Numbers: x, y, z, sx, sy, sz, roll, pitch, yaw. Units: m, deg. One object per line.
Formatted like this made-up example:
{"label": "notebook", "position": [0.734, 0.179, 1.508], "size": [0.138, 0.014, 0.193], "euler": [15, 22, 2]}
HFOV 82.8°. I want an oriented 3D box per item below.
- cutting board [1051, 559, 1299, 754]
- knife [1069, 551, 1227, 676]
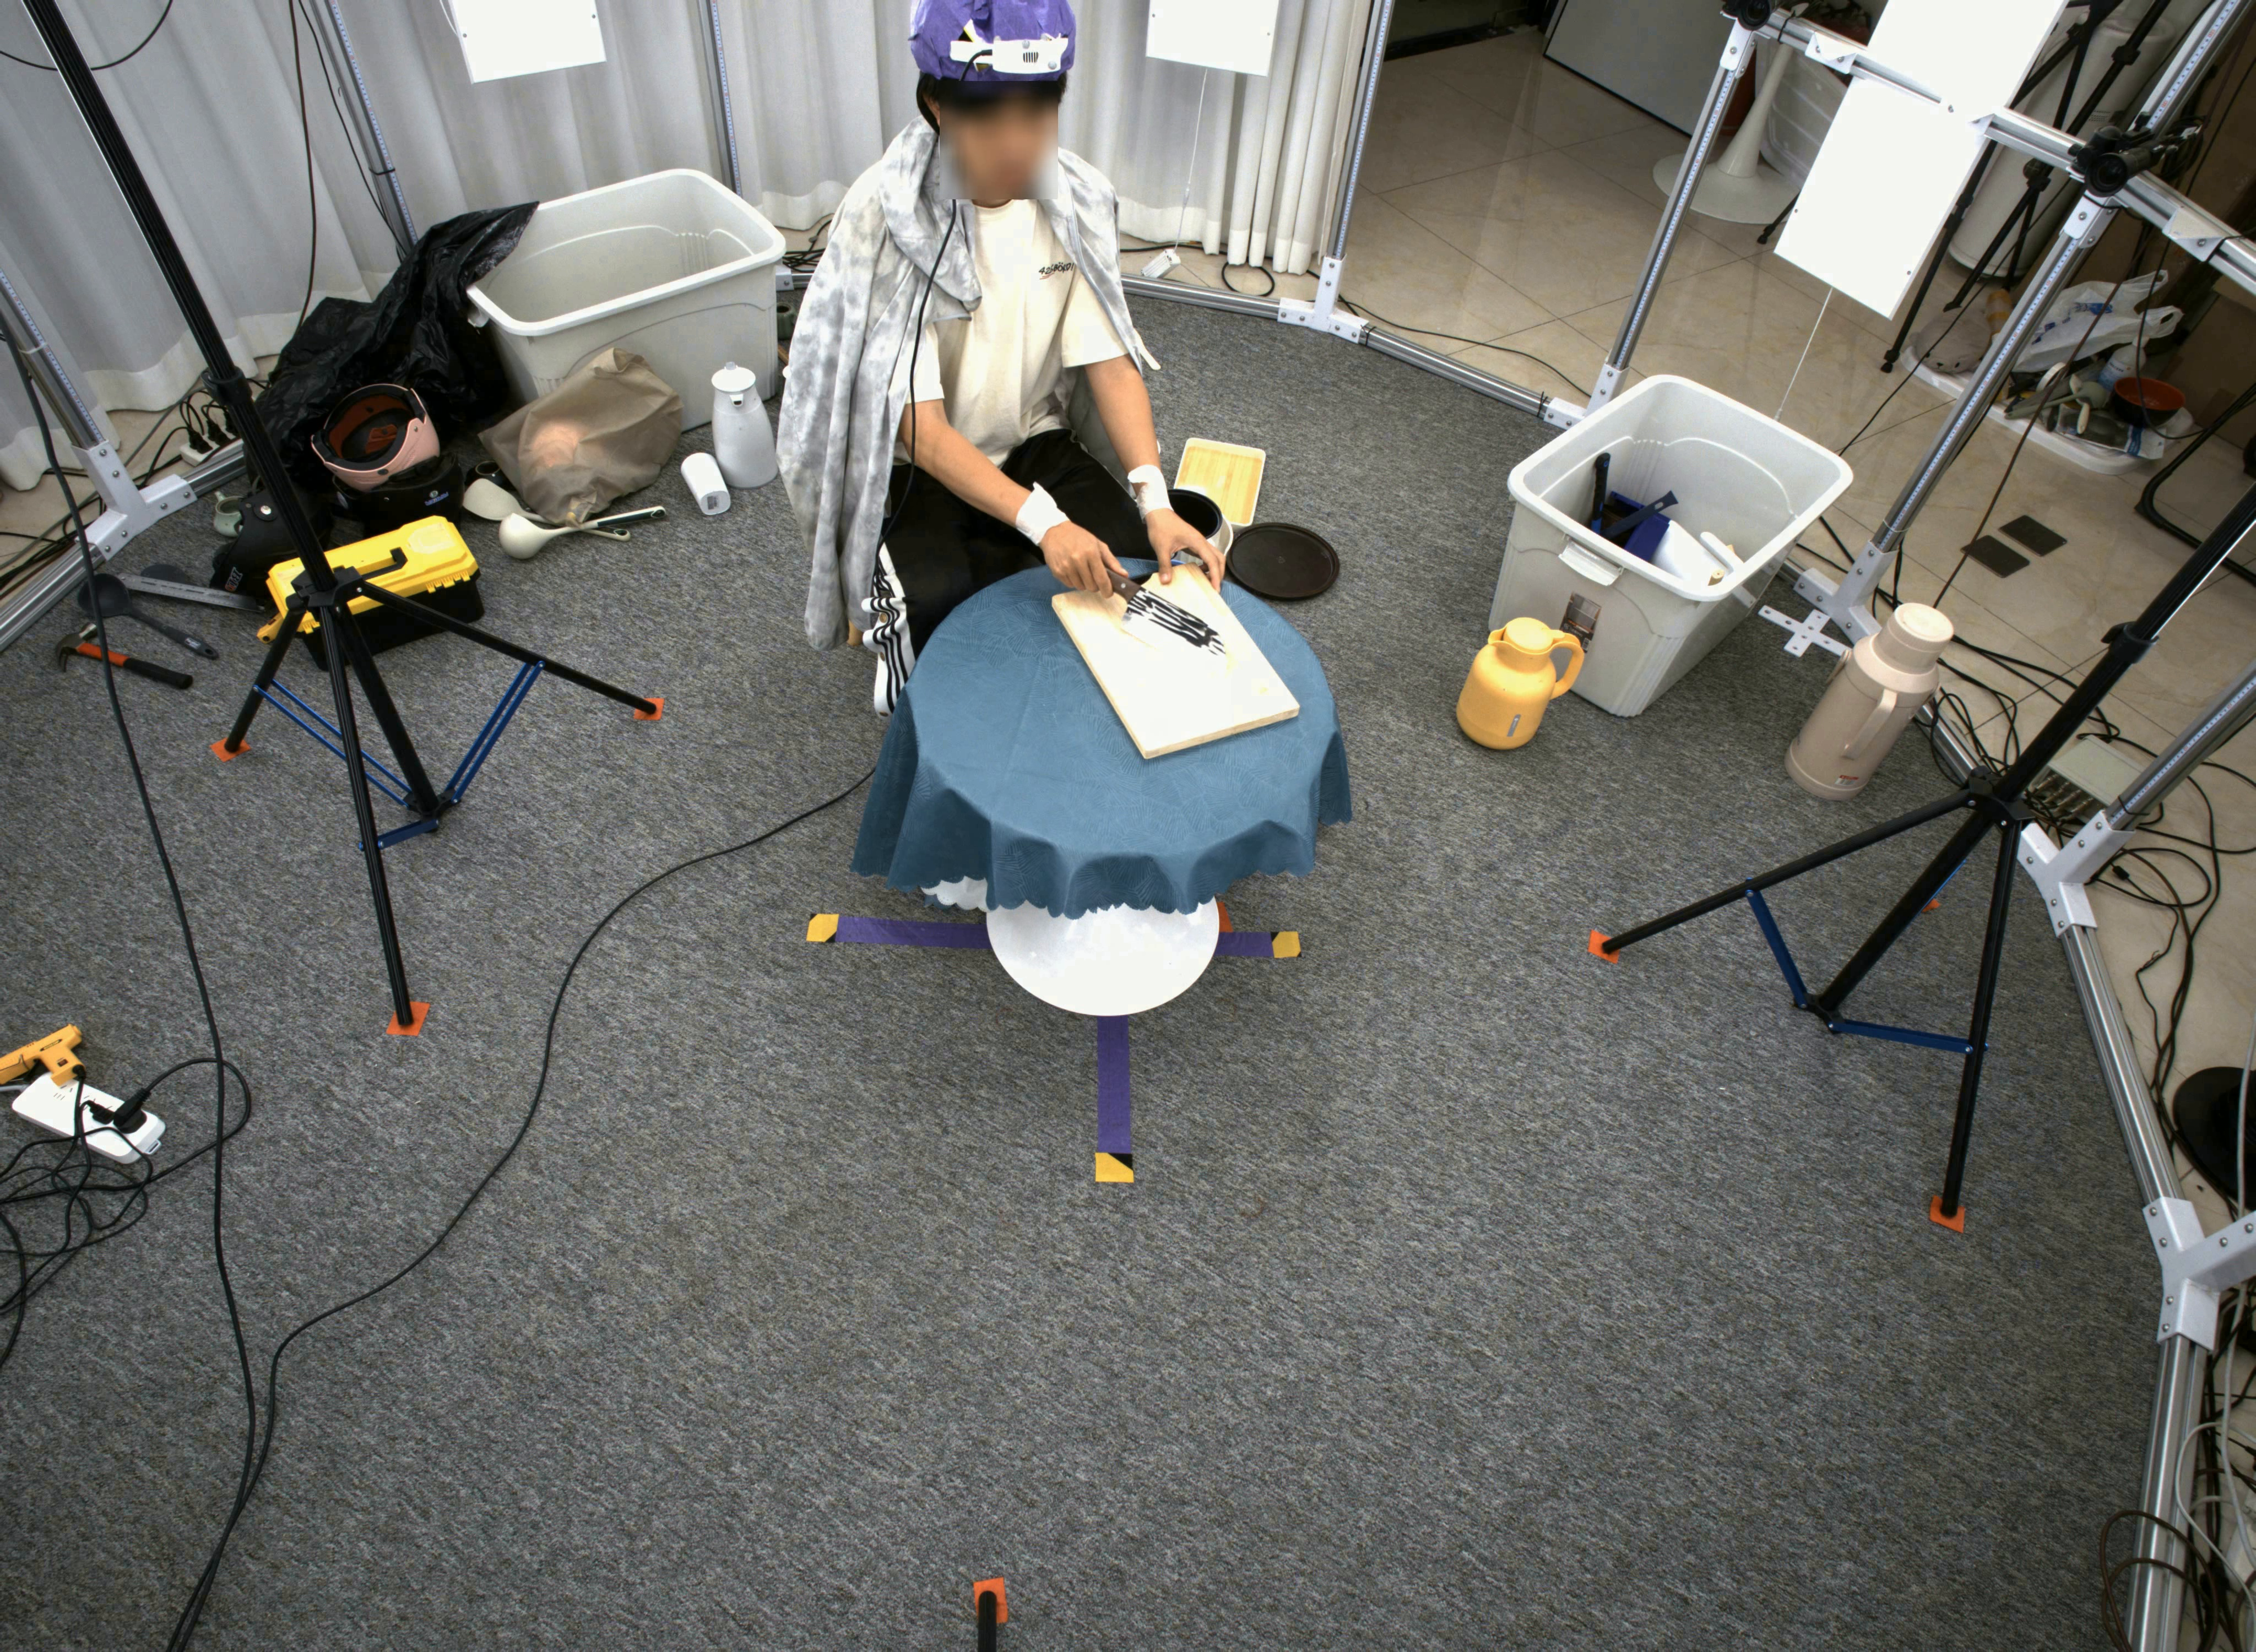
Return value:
{"label": "cutting board", "position": [0.063, -0.255, 1.877], "size": [0.251, 0.023, 0.356], "euler": [-17, 52, -18]}
{"label": "knife", "position": [0.025, -0.311, 1.874], "size": [0.302, 0.024, 0.068], "euler": [32, 96, 17]}
